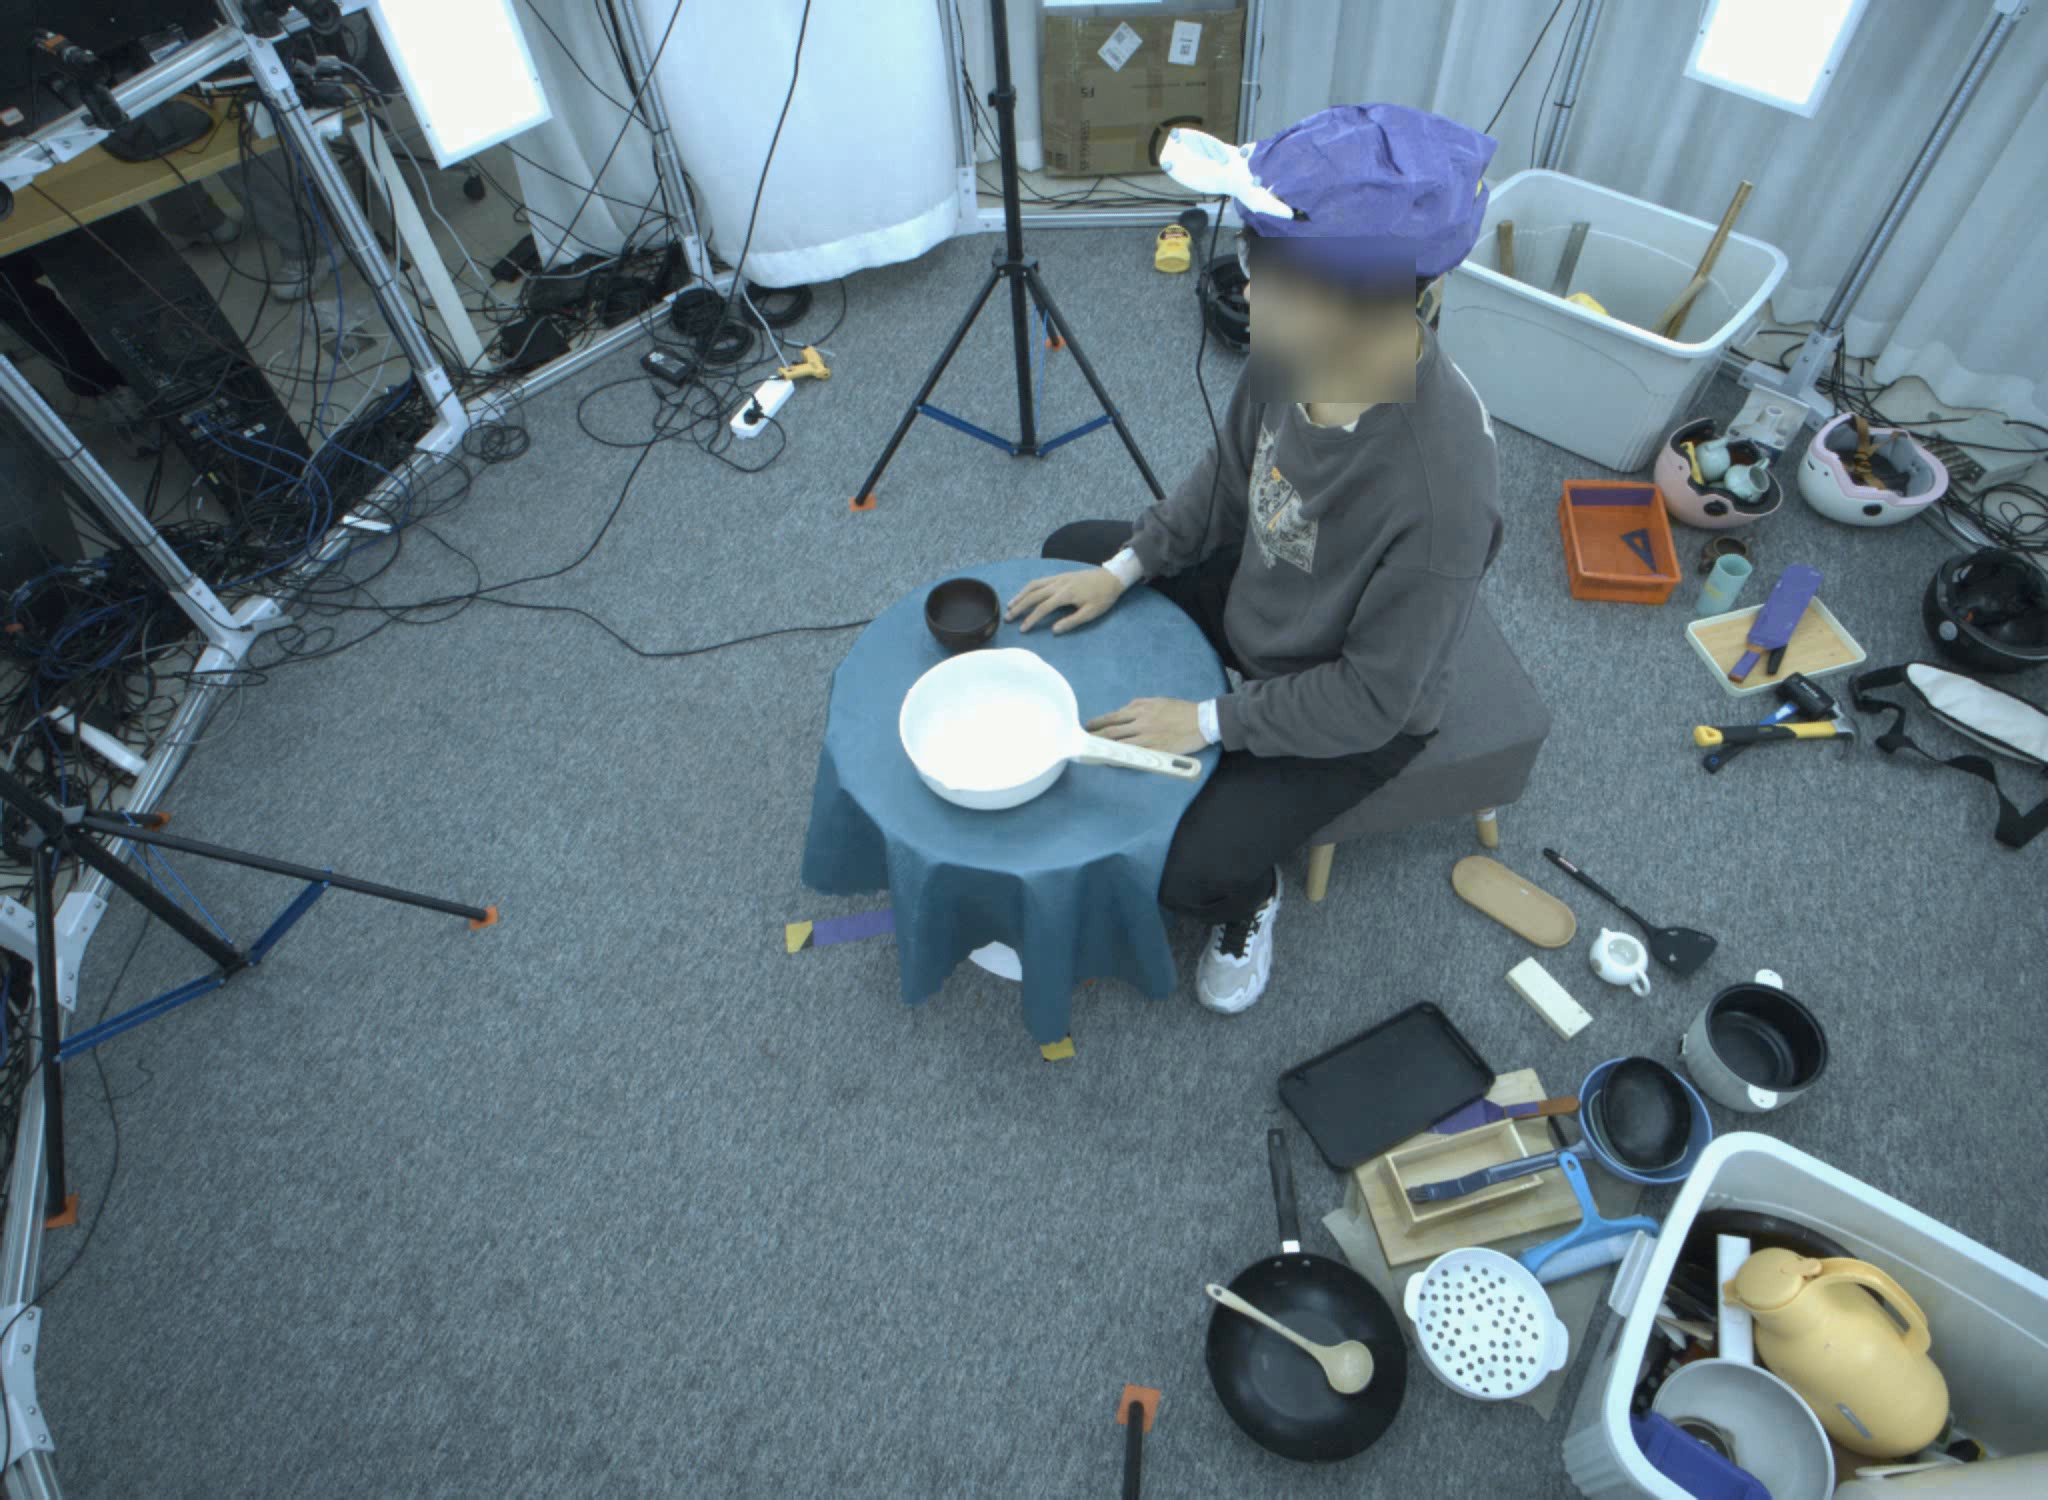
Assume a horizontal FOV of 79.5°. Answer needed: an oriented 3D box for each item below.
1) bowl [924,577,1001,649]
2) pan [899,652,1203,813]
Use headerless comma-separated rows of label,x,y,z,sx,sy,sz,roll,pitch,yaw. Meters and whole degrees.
bowl,-0.094,-0.203,1.890,0.118,0.070,0.117,0,53,1
pan,0.037,0.002,1.722,0.430,0.103,0.263,17,55,13
